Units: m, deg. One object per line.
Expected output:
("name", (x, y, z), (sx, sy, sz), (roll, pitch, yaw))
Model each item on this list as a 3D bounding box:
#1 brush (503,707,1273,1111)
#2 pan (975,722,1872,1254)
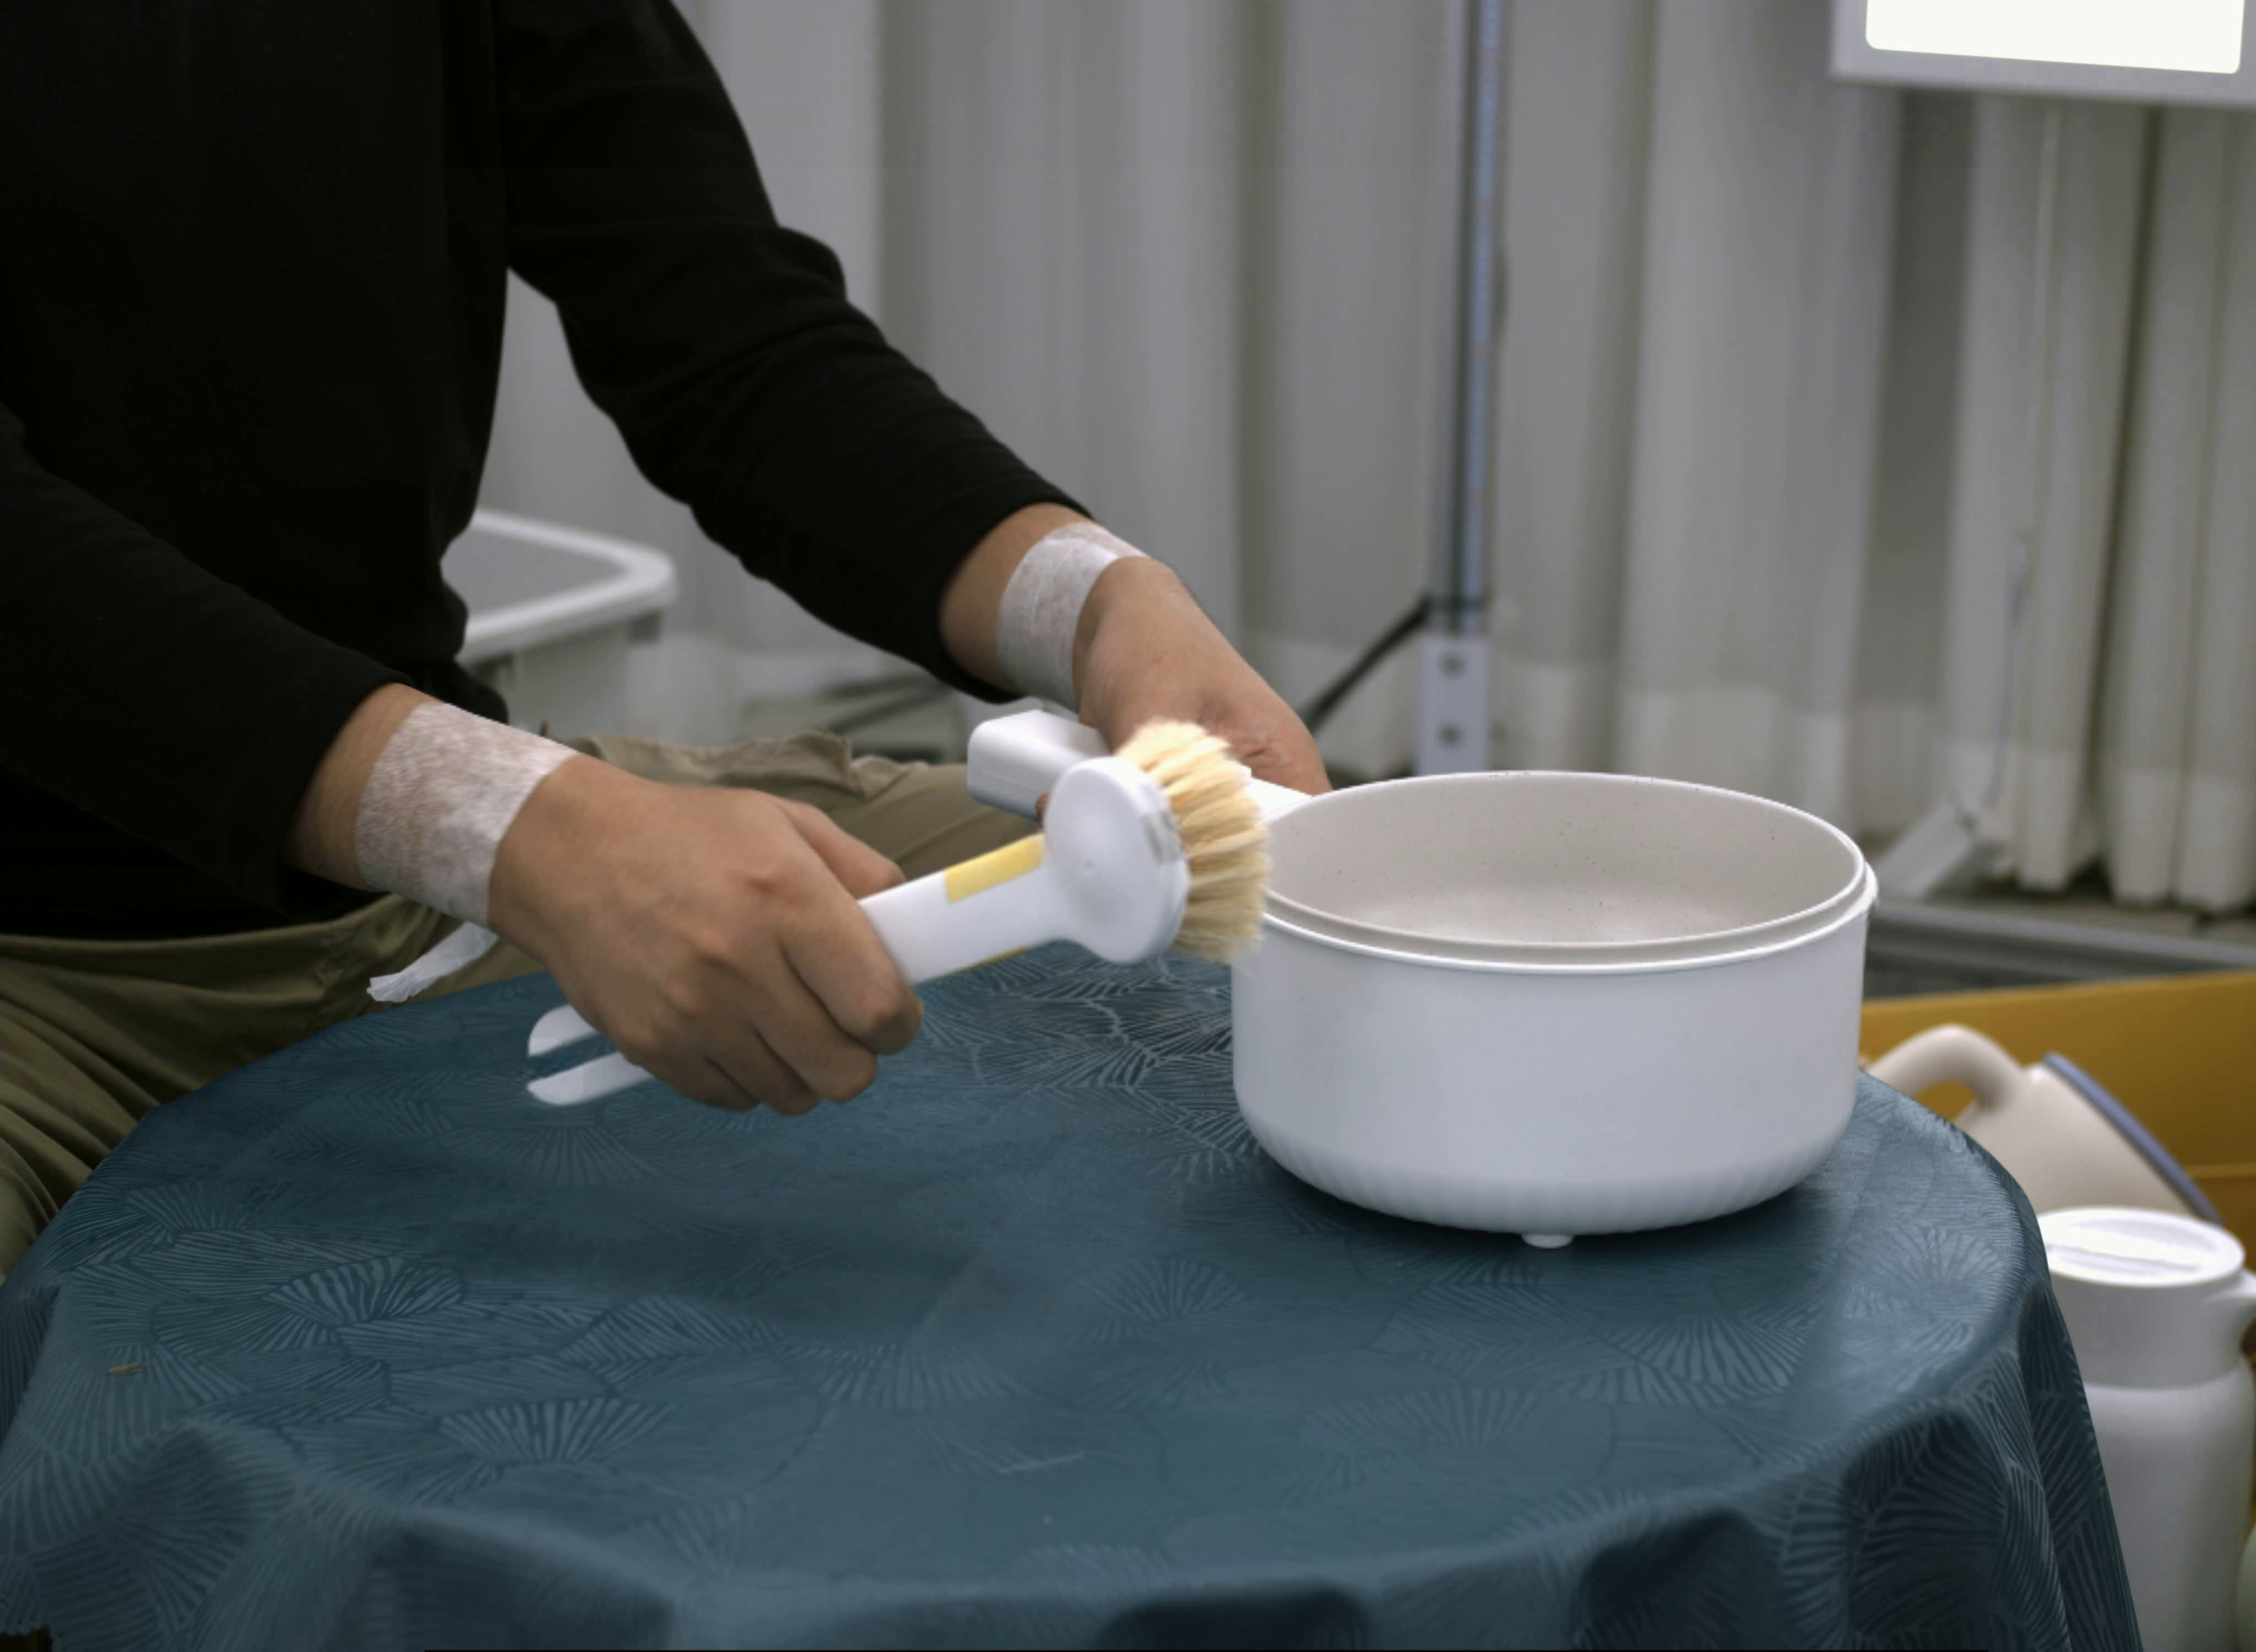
("brush", (-0.070, 0.032, 1.538), (0.265, 0.068, 0.056), (-22, -14, 32))
("pan", (0.078, 0.045, 1.690), (0.202, 0.103, 0.350), (-15, 21, -40))
